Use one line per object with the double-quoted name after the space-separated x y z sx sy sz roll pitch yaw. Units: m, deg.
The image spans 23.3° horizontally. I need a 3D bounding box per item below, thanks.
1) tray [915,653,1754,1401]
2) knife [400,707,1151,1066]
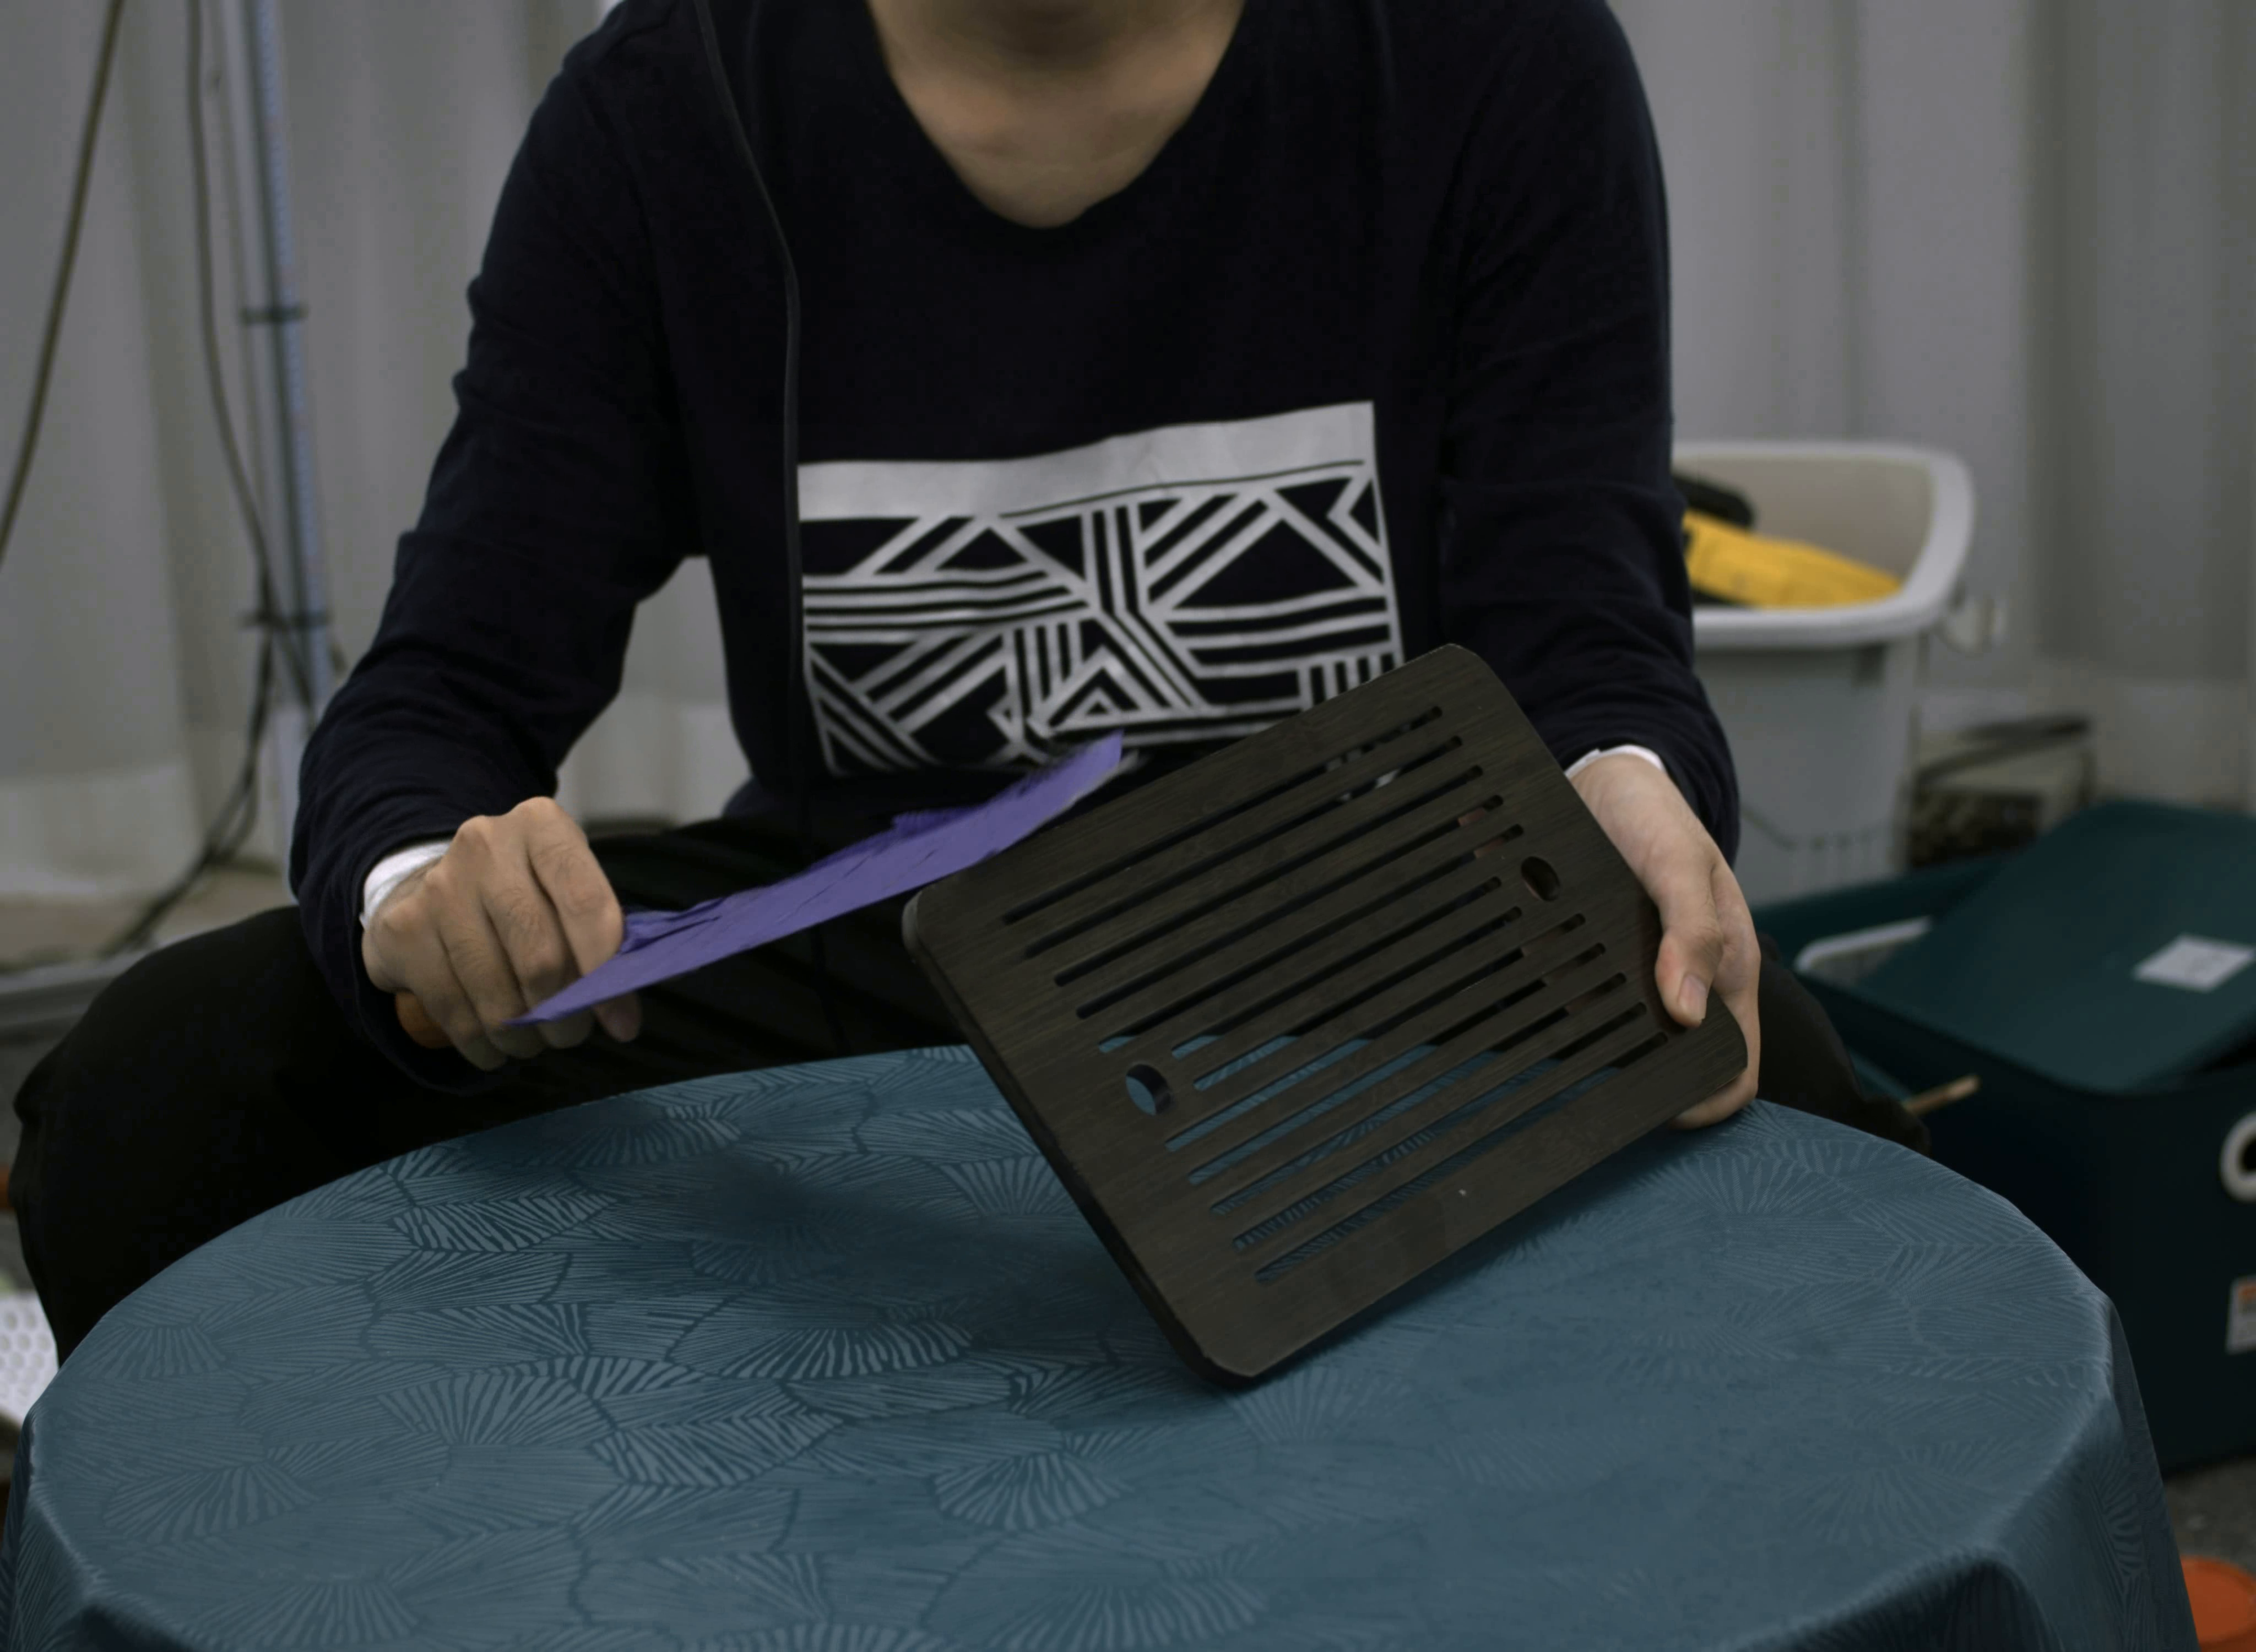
0.067 0.055 1.664 0.018 0.171 0.306 -42 -11 38 "tray"
-0.132 0.029 1.707 0.314 0.032 0.104 -23 8 37 "knife"
